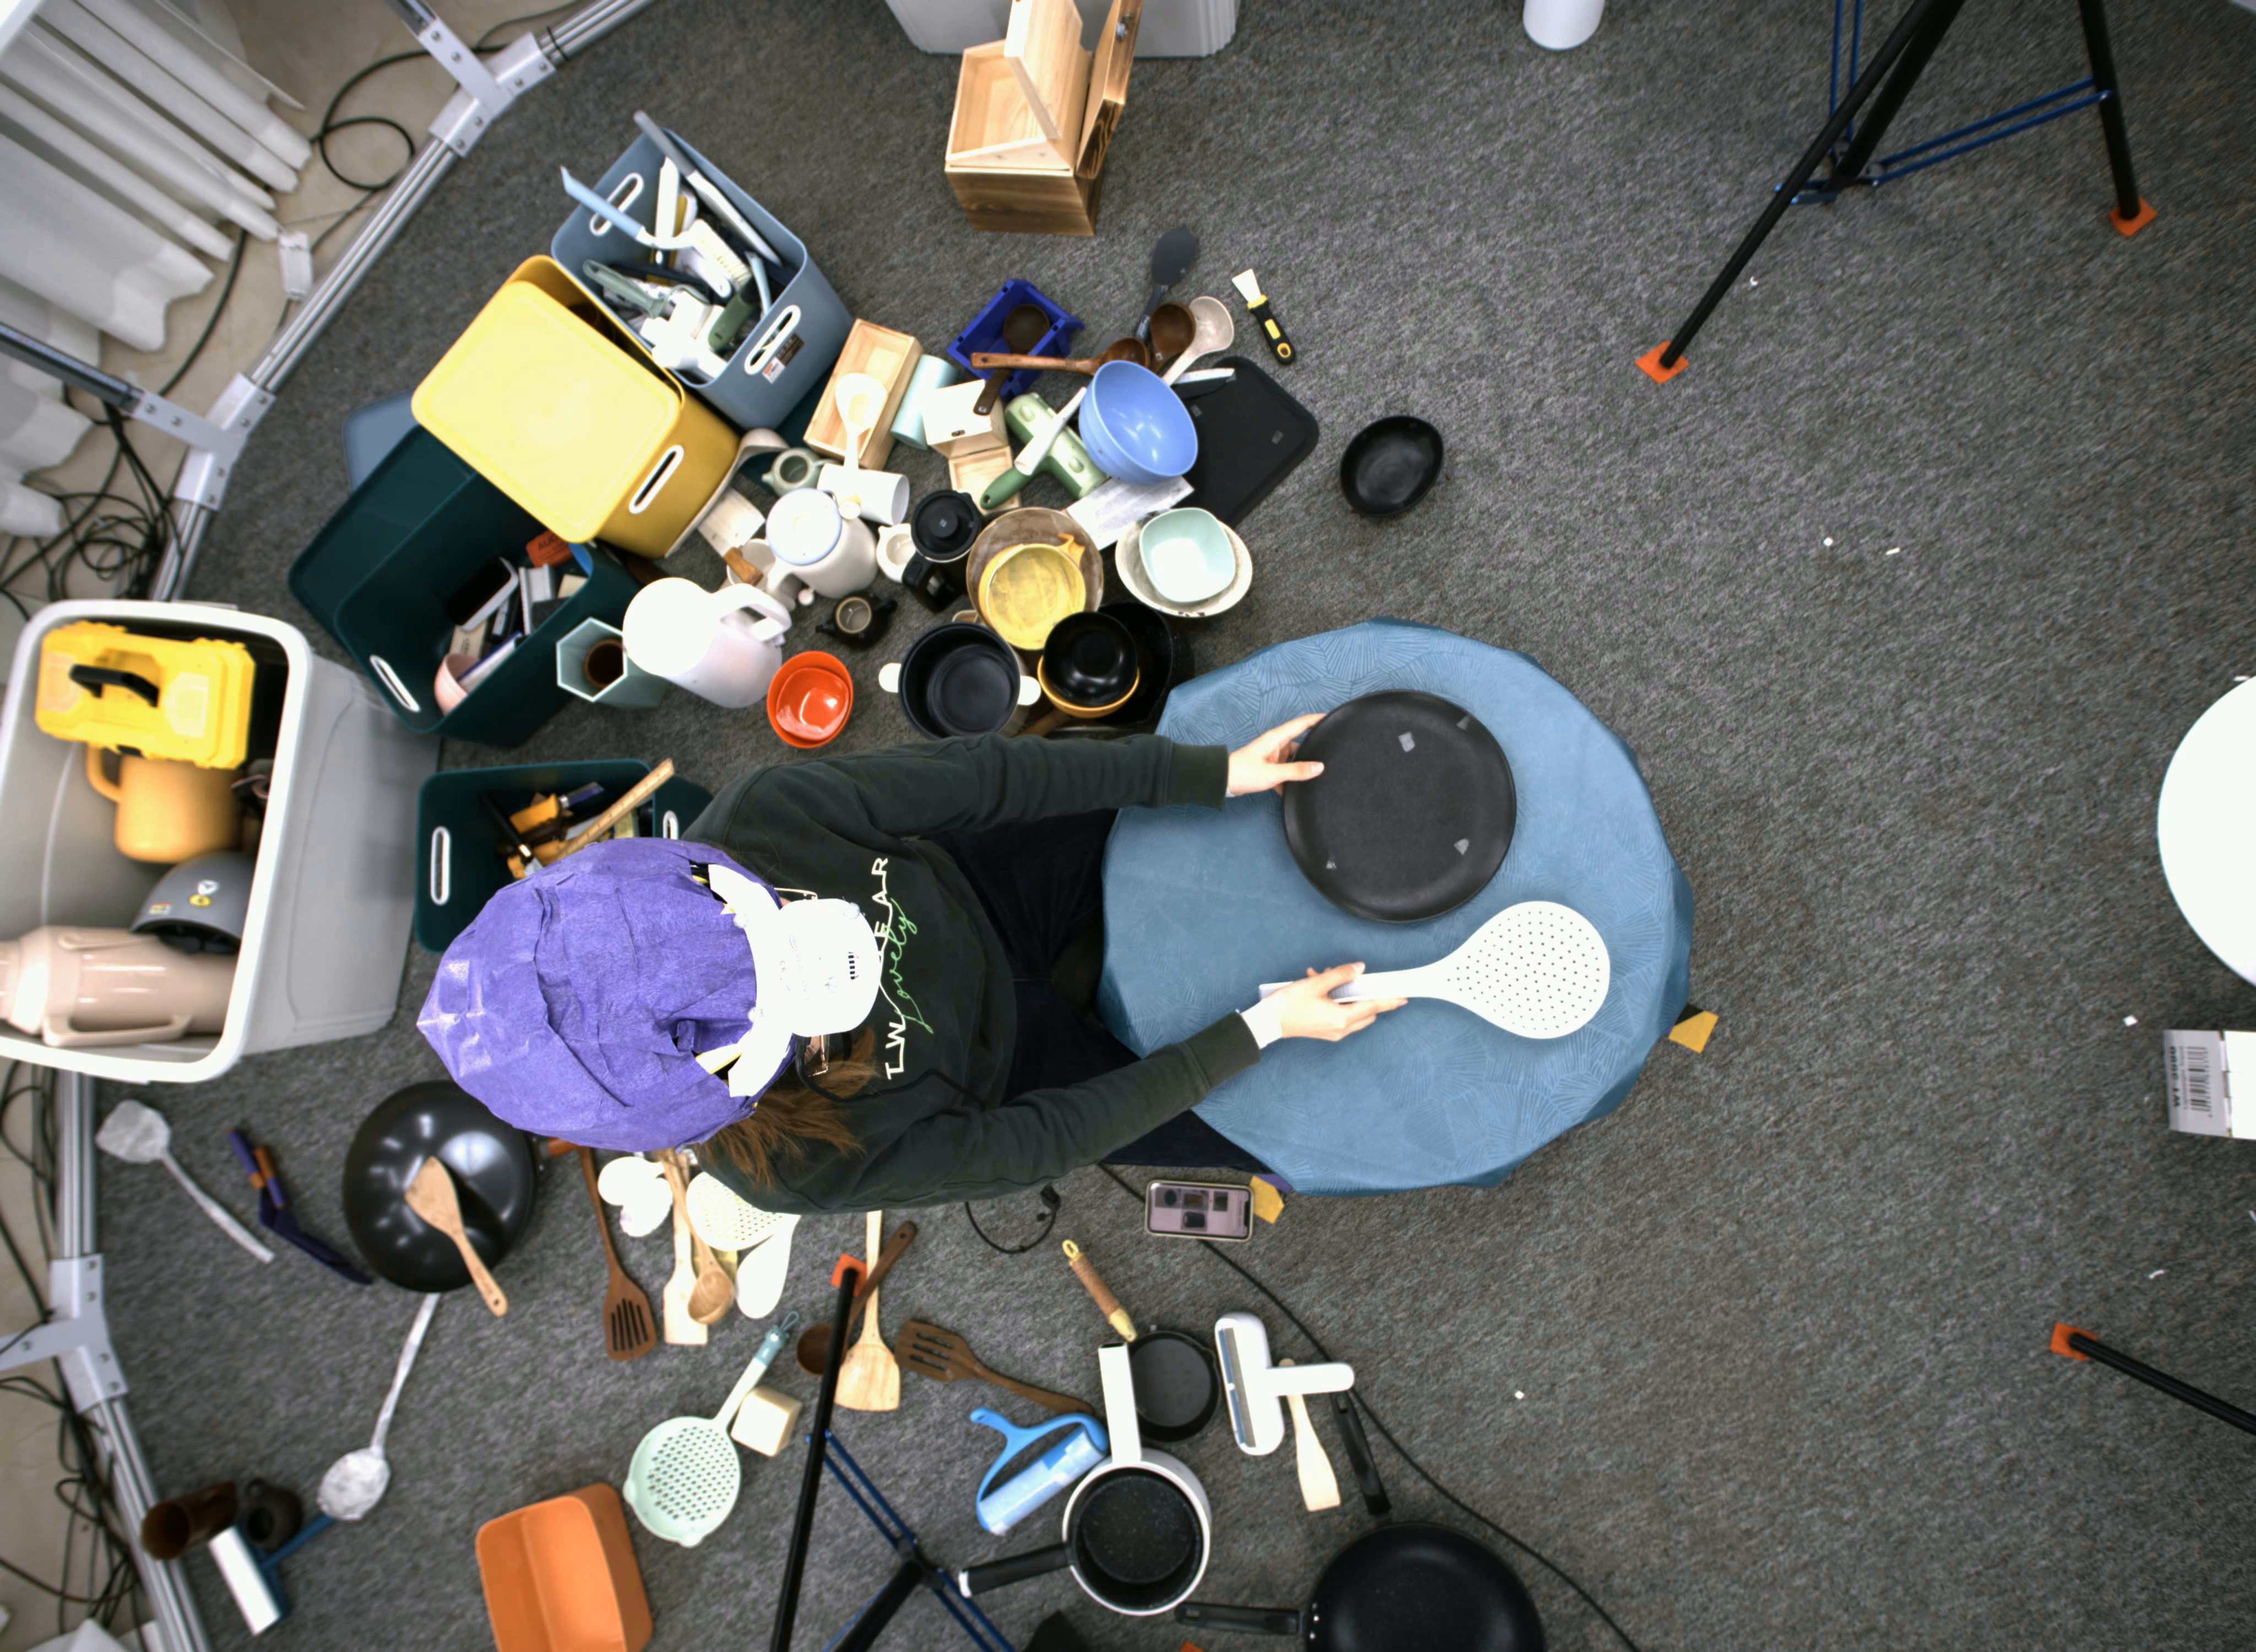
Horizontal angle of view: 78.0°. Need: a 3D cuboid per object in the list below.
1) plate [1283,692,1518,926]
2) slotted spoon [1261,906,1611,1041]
[{"bbox_3d":[0.283,-0.019,1.435,0.245,0.023,0.245,0,94,2],"label":"plate"},{"bbox_3d":[0.311,0.160,1.410,0.351,0.046,0.134,-6,80,5],"label":"slotted spoon"}]
